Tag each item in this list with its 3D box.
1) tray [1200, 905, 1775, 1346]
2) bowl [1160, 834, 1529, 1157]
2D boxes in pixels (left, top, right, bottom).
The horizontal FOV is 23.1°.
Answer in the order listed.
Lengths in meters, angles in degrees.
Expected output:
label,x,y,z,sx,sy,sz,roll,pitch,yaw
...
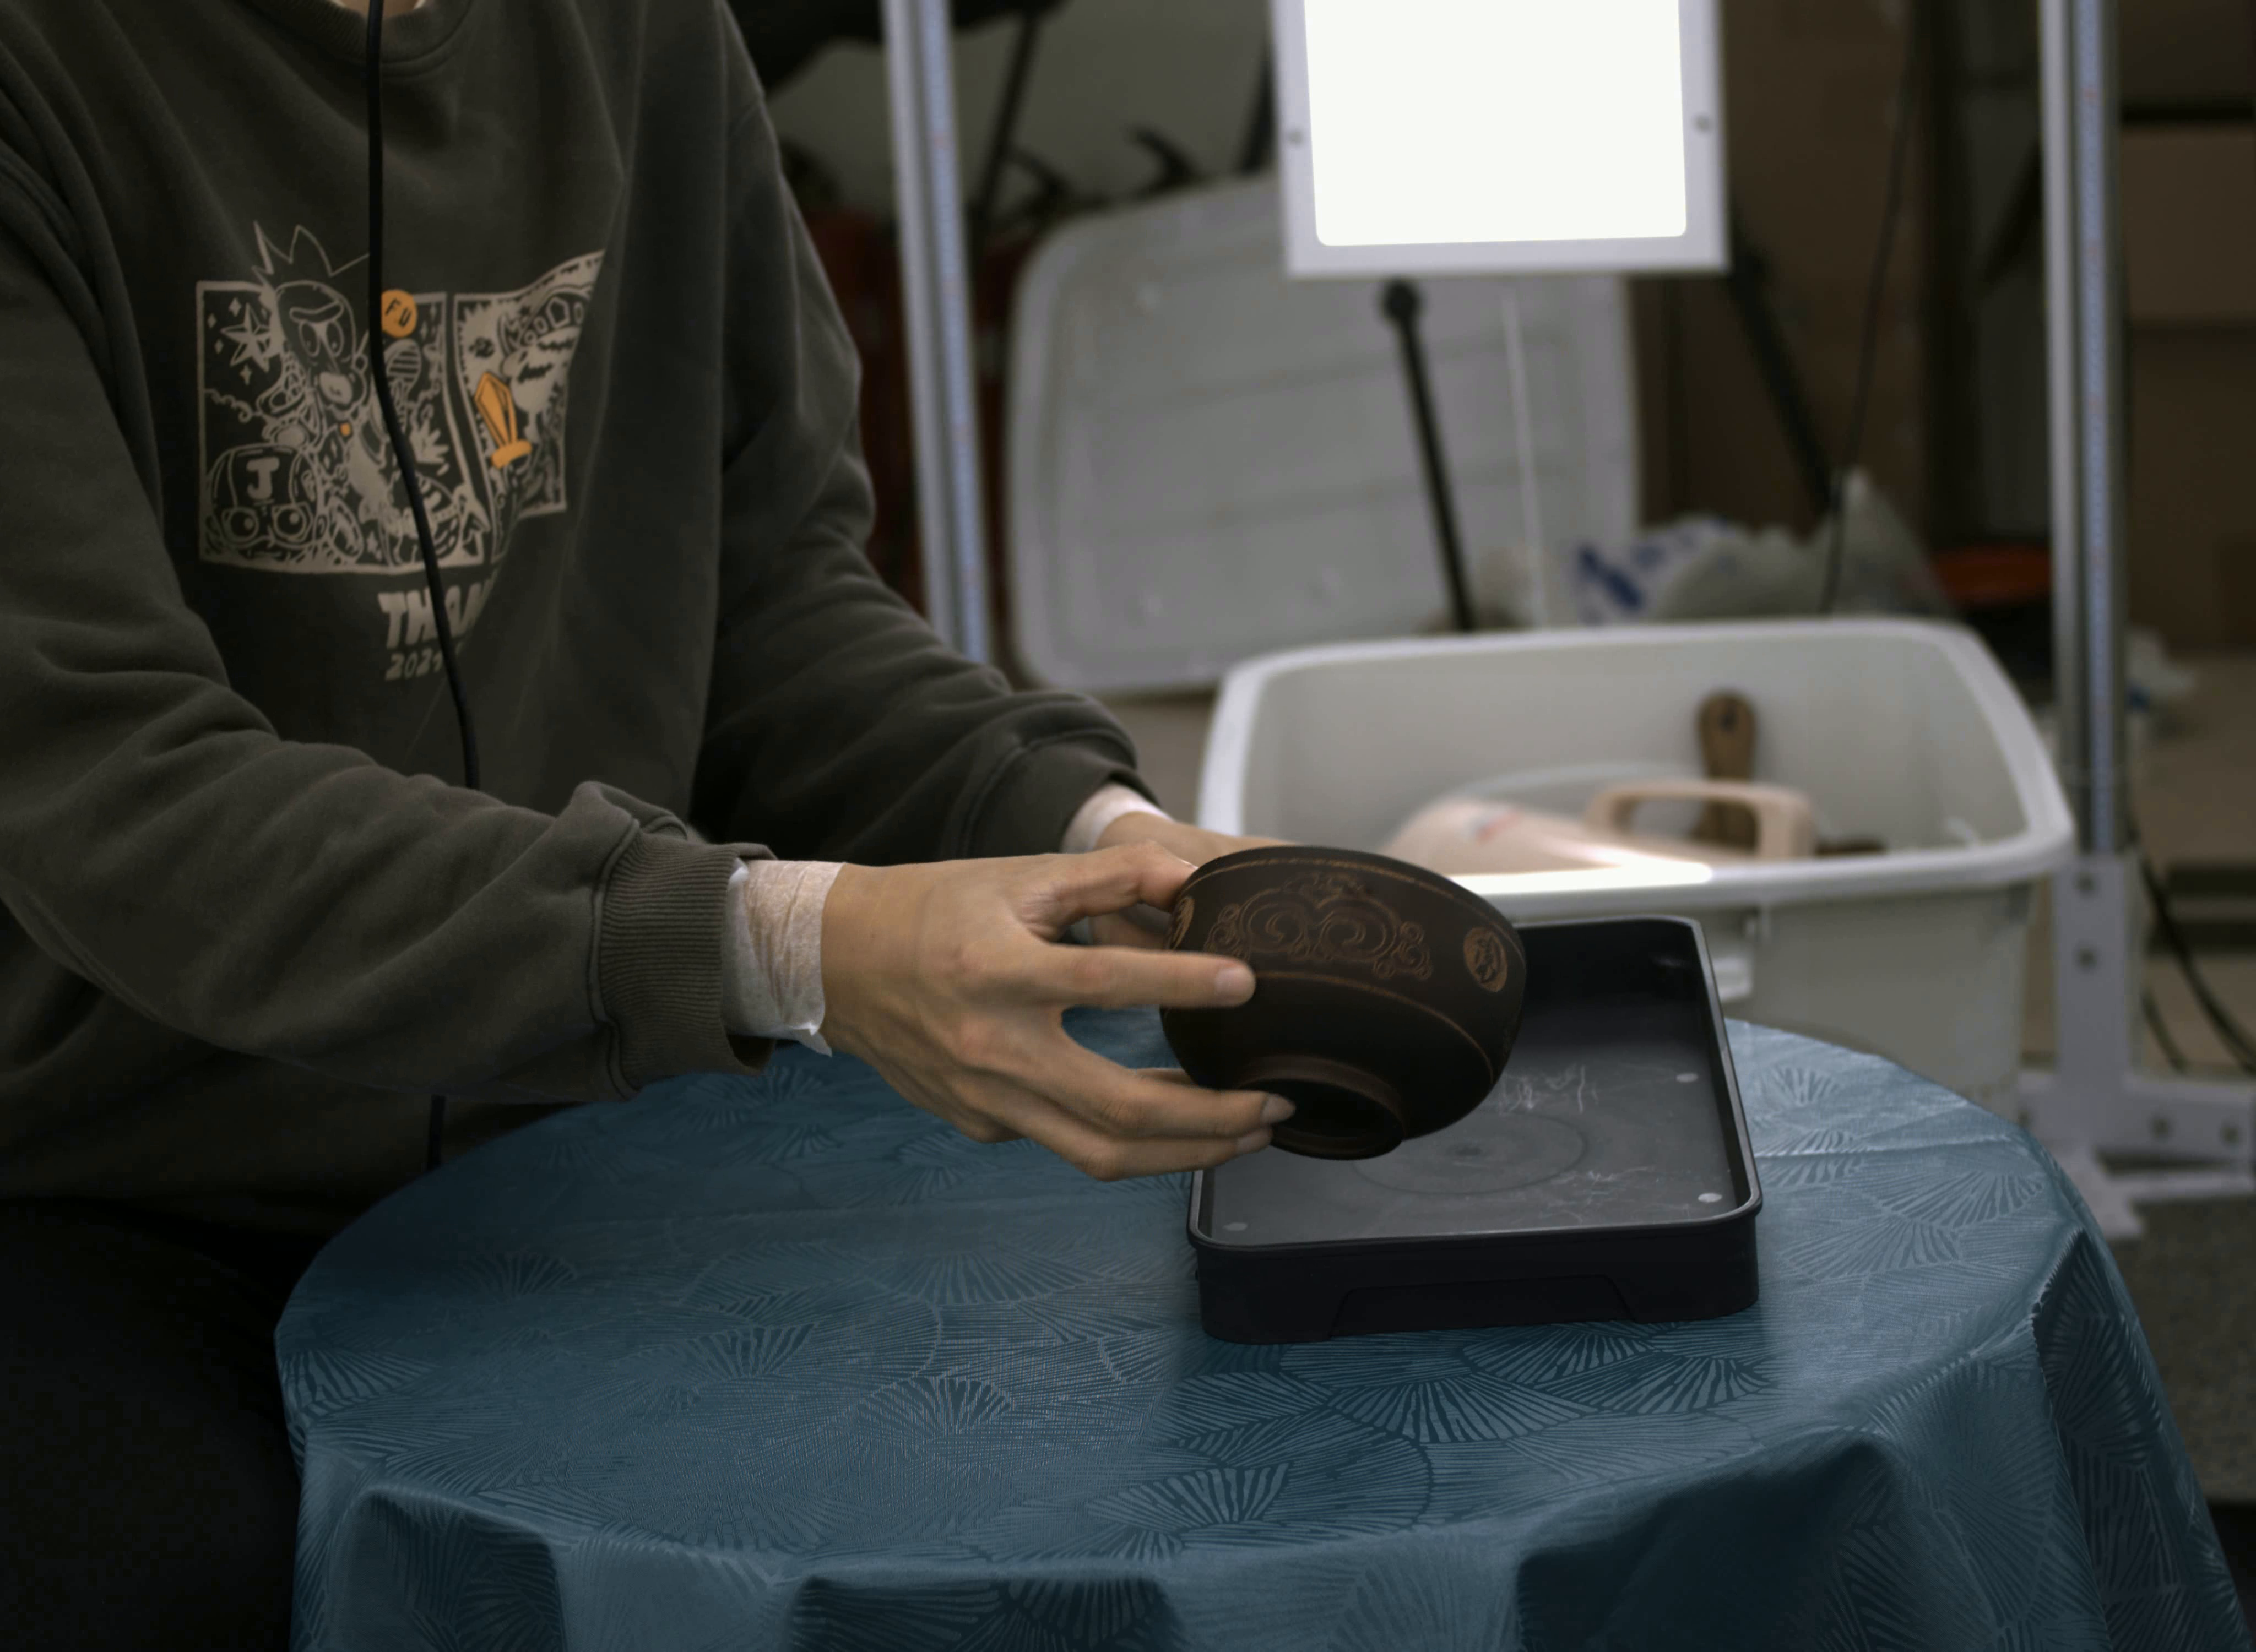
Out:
label,x,y,z,sx,sy,sz,roll,pitch,yaw
tray,0.116,0.097,1.874,0.184,0.037,0.317,-5,17,3
bowl,0.067,0.062,1.748,0.119,0.117,0.069,1,57,19
